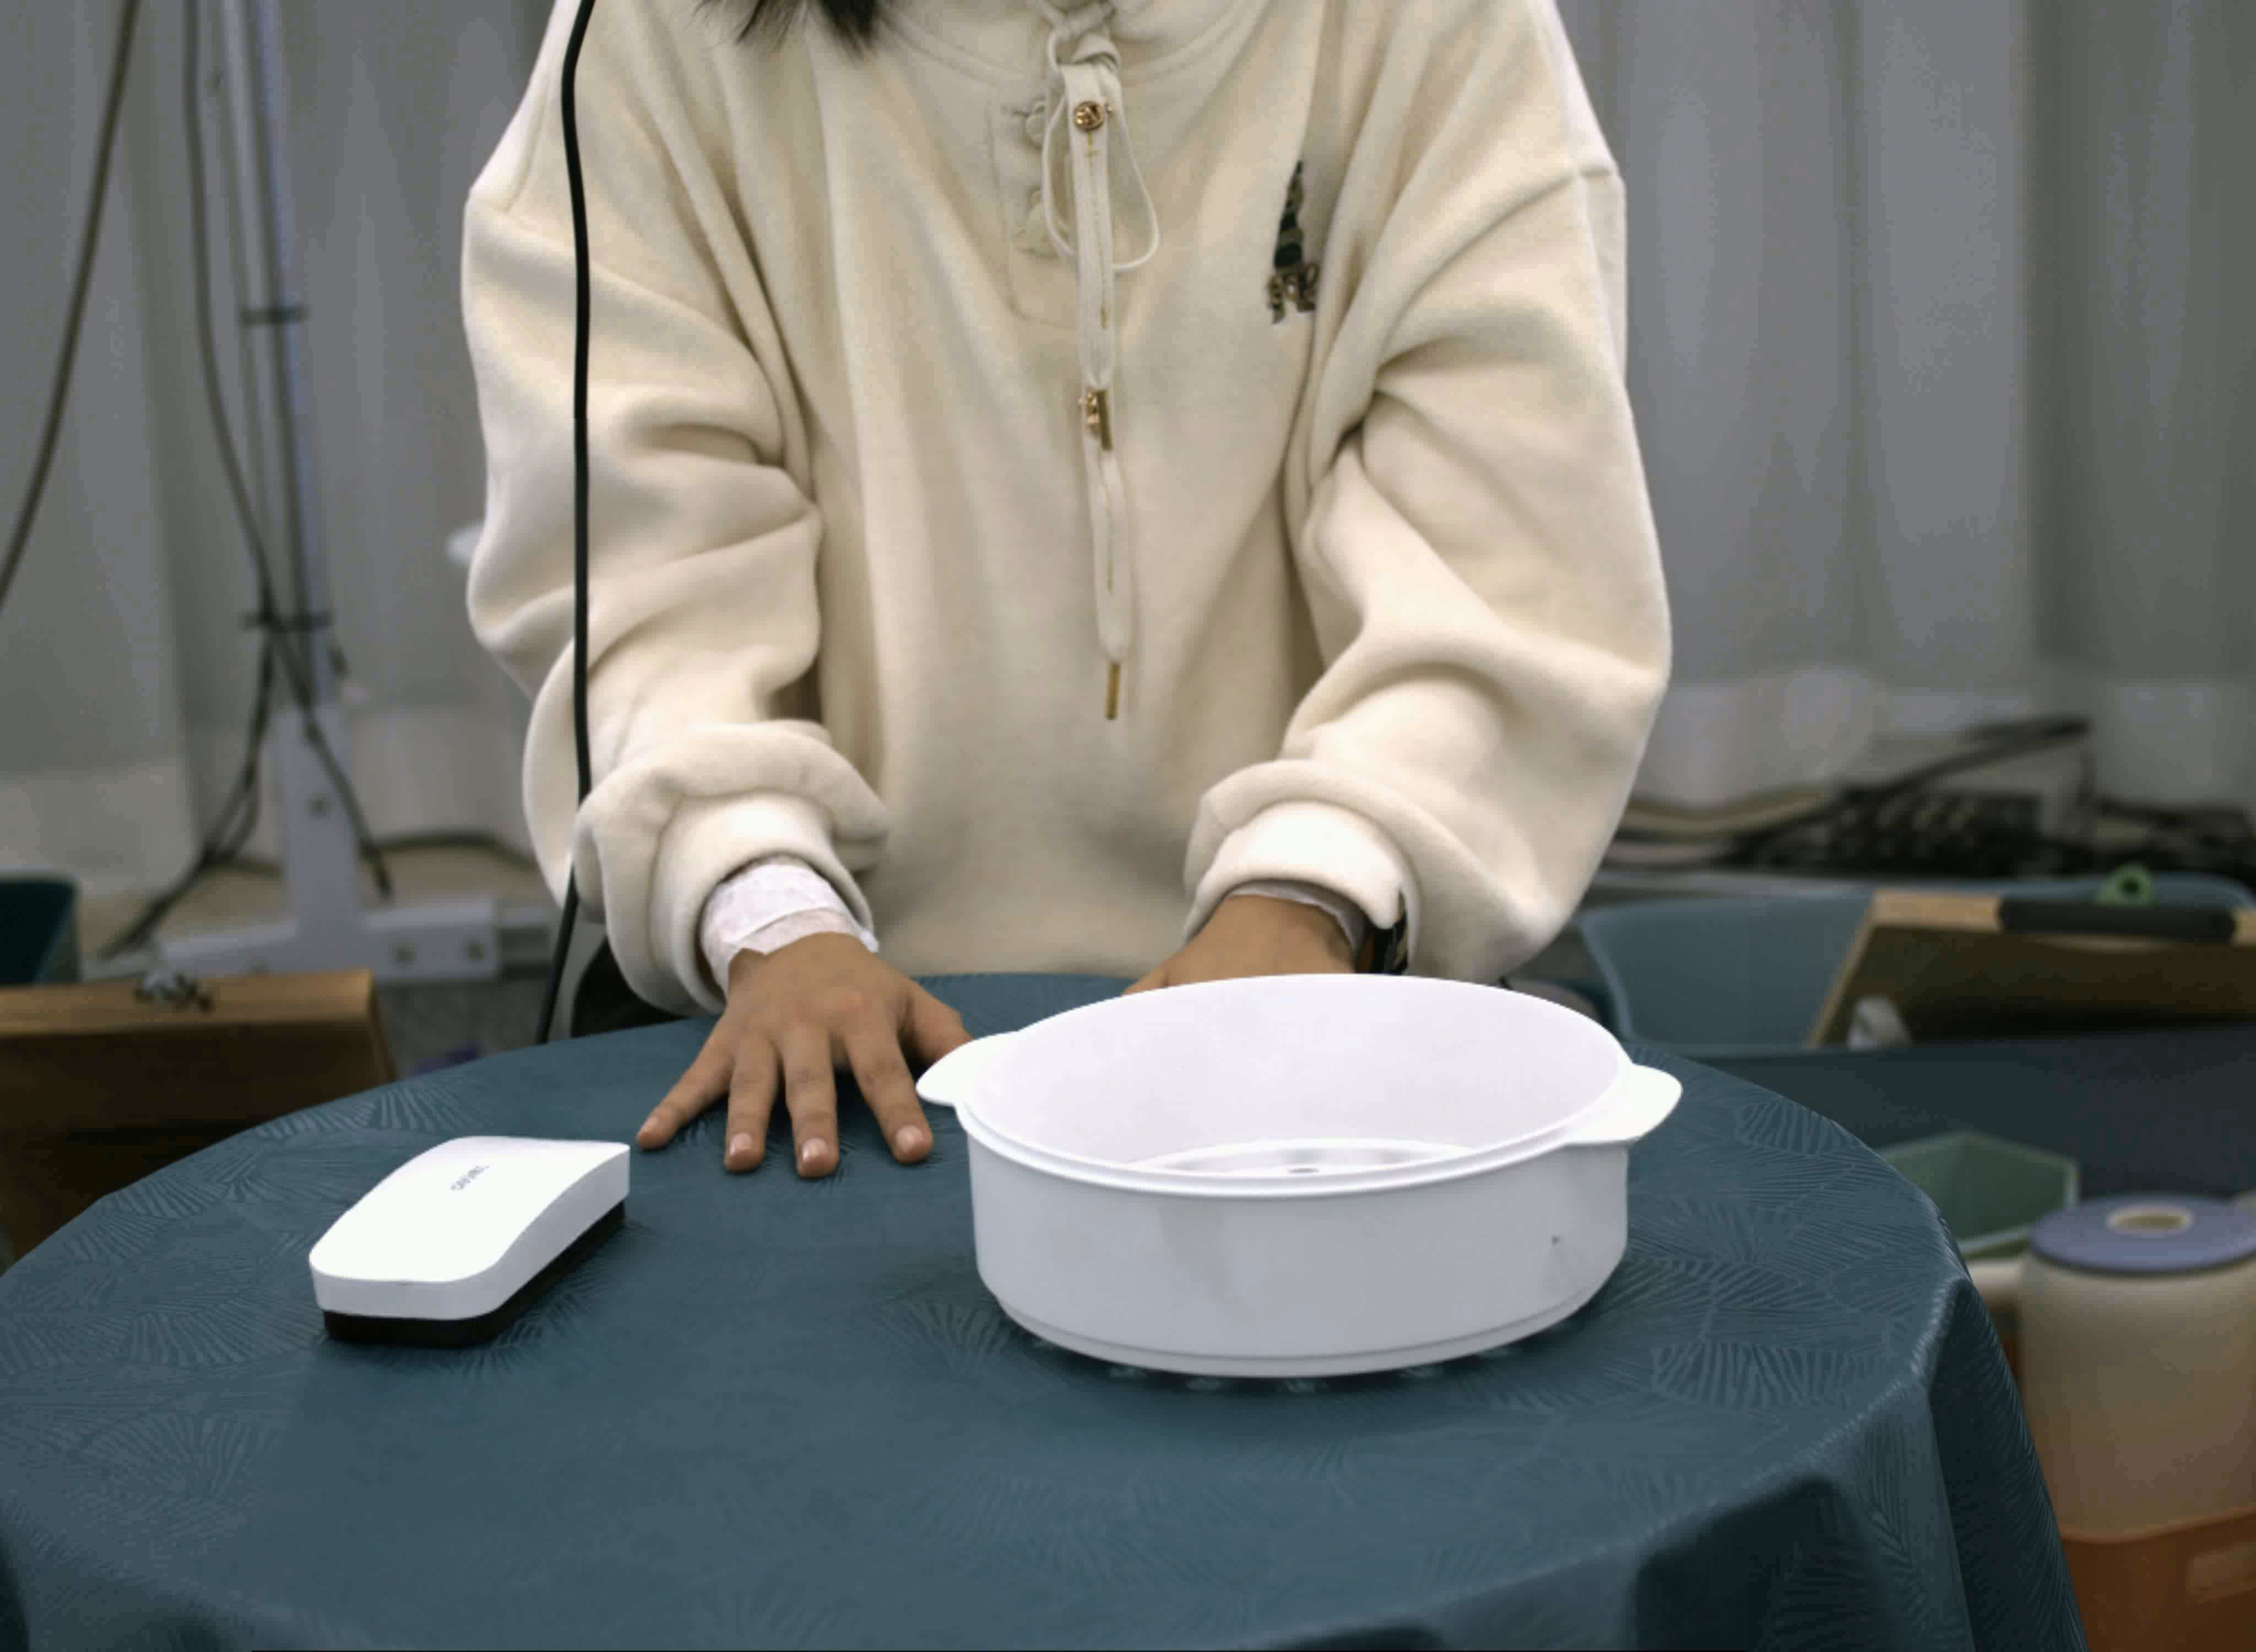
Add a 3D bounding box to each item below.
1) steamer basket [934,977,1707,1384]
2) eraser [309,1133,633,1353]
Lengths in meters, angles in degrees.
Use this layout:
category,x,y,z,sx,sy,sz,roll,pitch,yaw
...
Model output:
category,x,y,z,sx,sy,sz,roll,pitch,yaw
steamer basket,0.056,0.104,1.614,0.230,0.069,0.202,3,16,20
eraser,-0.197,0.123,1.664,0.063,0.034,0.132,2,16,18
